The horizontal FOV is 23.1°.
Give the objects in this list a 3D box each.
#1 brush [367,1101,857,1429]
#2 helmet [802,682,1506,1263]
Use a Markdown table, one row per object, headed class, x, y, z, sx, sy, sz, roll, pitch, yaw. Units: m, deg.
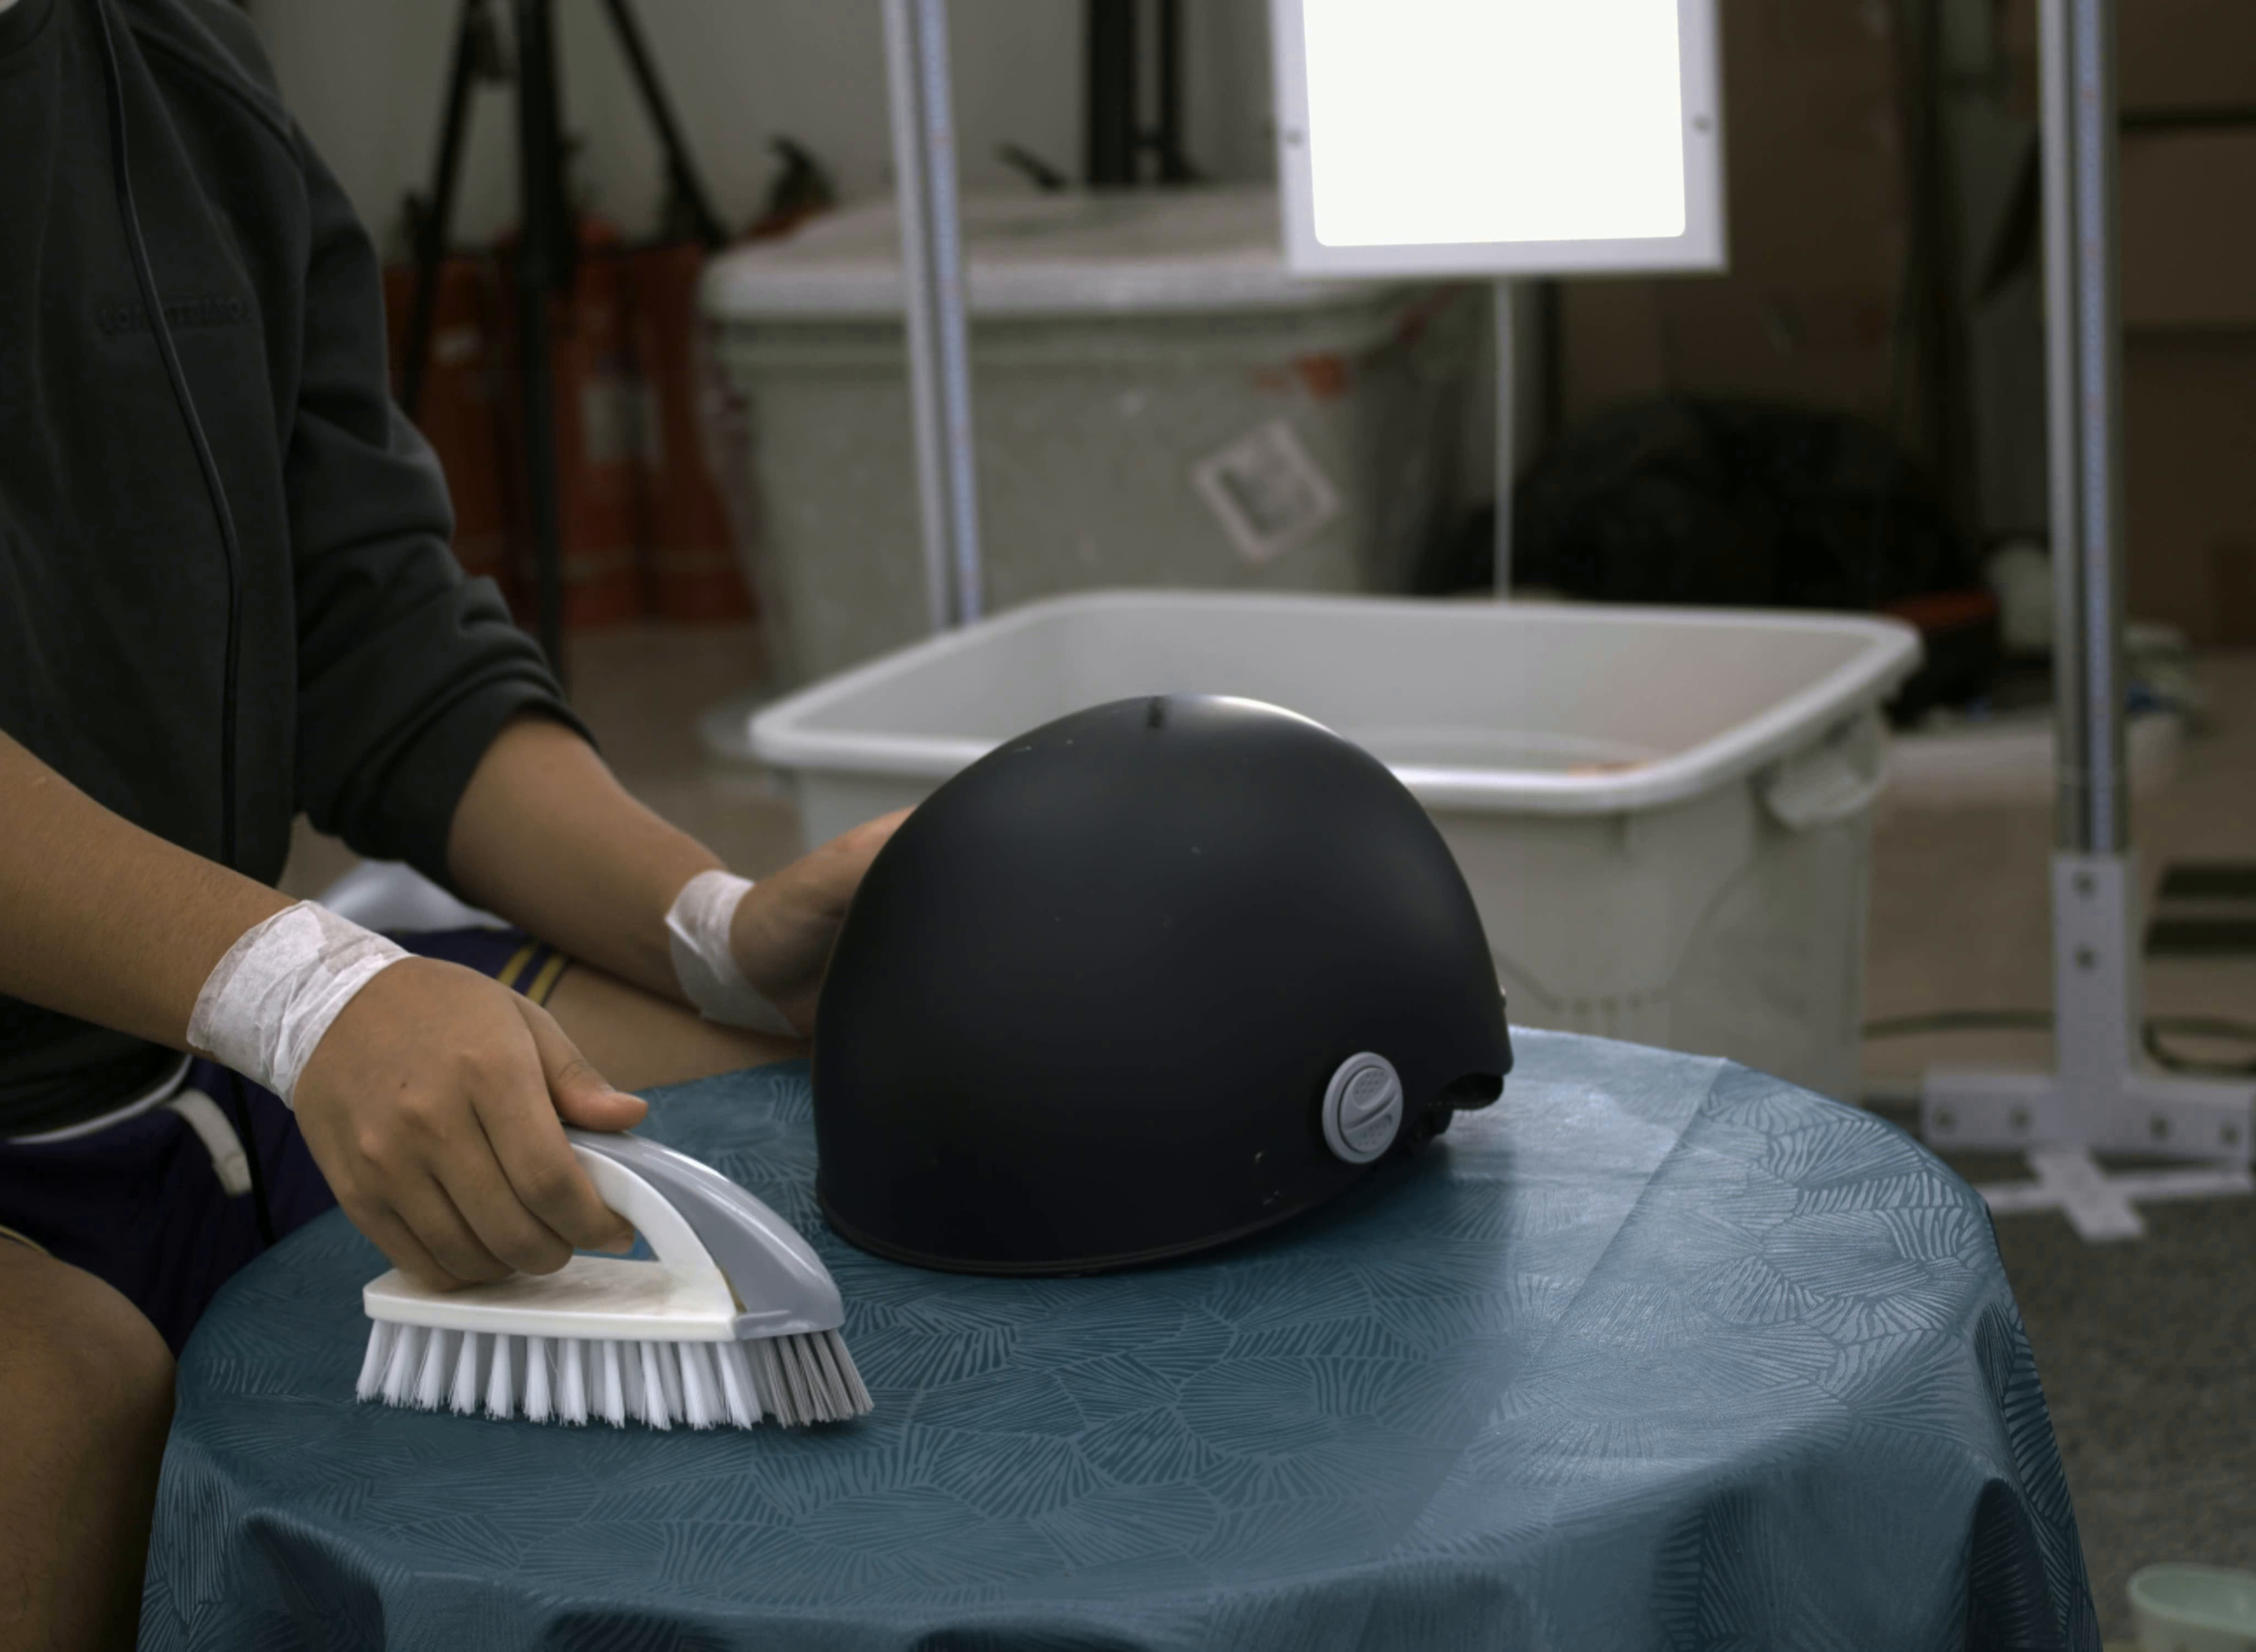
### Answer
| class | x | y | z | sx | sy | sz | roll | pitch | yaw |
| --- | --- | --- | --- | --- | --- | --- | --- | --- | --- |
| brush | -0.160 | 0.135 | 1.726 | 0.179 | 0.094 | 0.060 | 7 | 17 | 32 |
| helmet | 0.004 | 0.040 | 1.914 | 0.235 | 0.167 | 0.266 | 5 | 19 | 37 |
